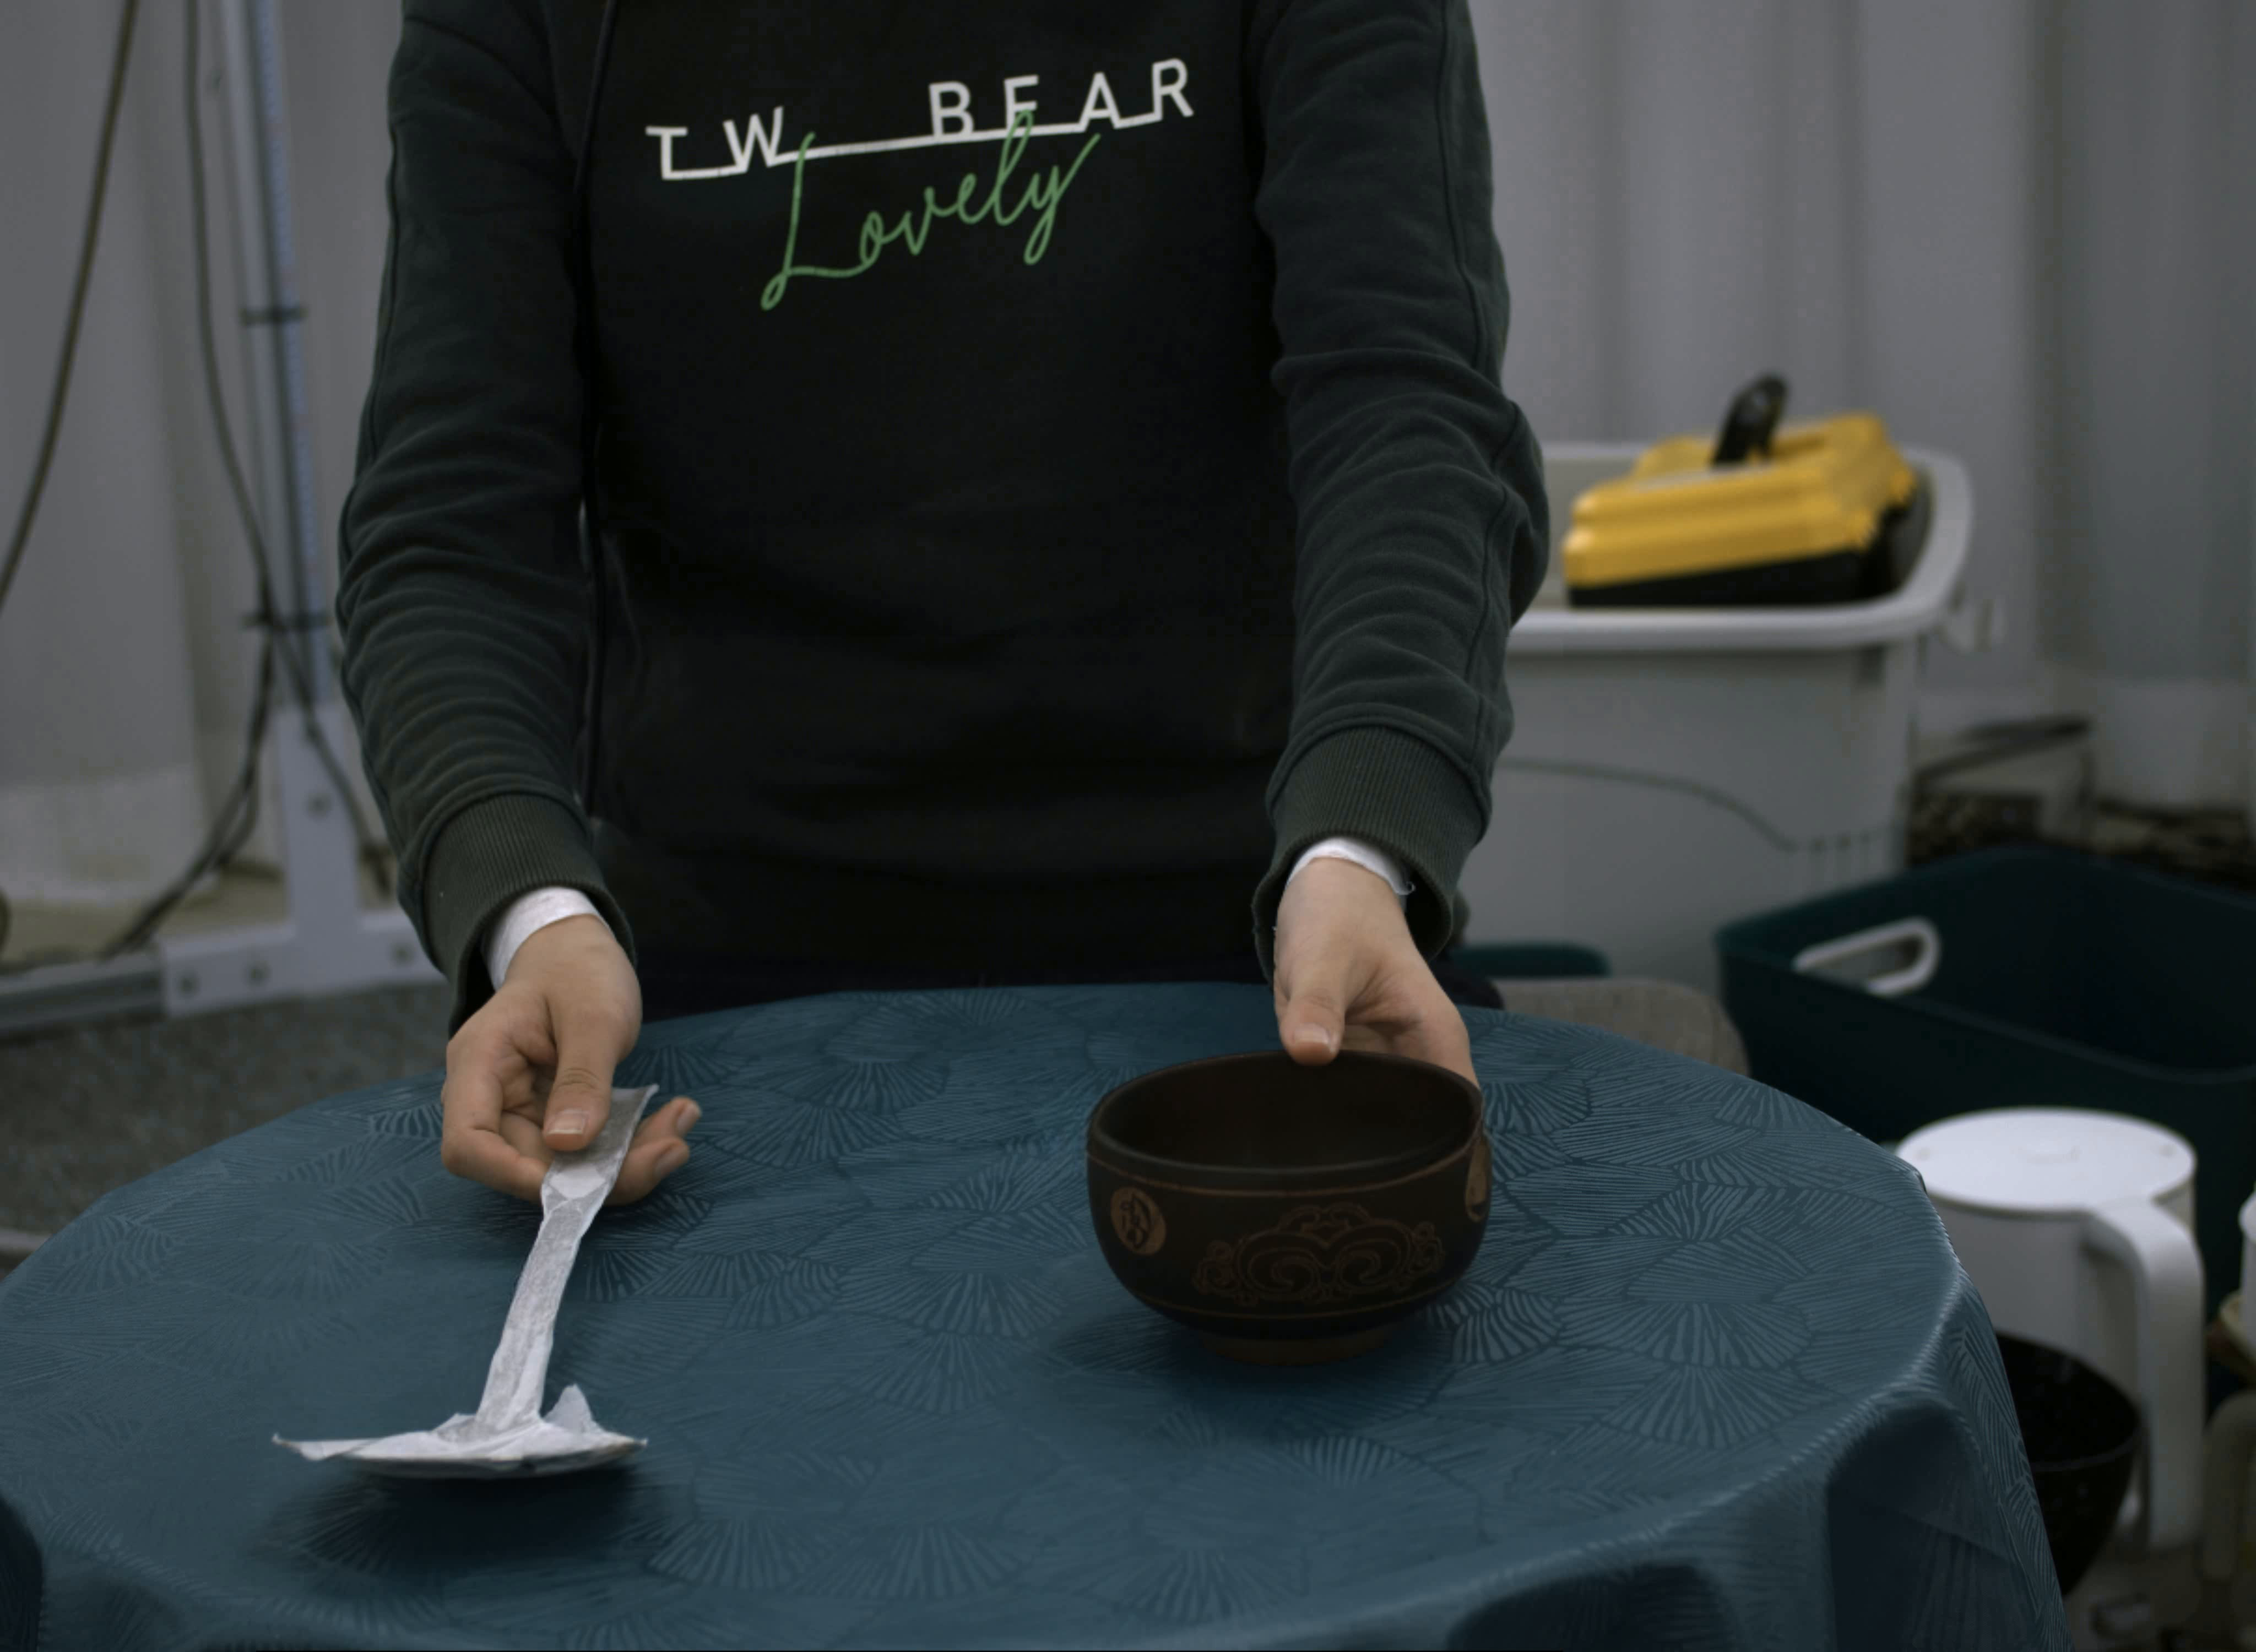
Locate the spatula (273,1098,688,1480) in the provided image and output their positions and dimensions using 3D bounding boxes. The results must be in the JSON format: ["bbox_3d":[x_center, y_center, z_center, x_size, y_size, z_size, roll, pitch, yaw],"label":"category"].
[{"bbox_3d":[-0.167,0.127,1.606,0.098,0.044,0.367,-2,18,4],"label":"spatula"}]

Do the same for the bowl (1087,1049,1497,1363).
[{"bbox_3d":[0.047,0.113,1.575,0.117,0.069,0.119,-1,13,0],"label":"bowl"}]
